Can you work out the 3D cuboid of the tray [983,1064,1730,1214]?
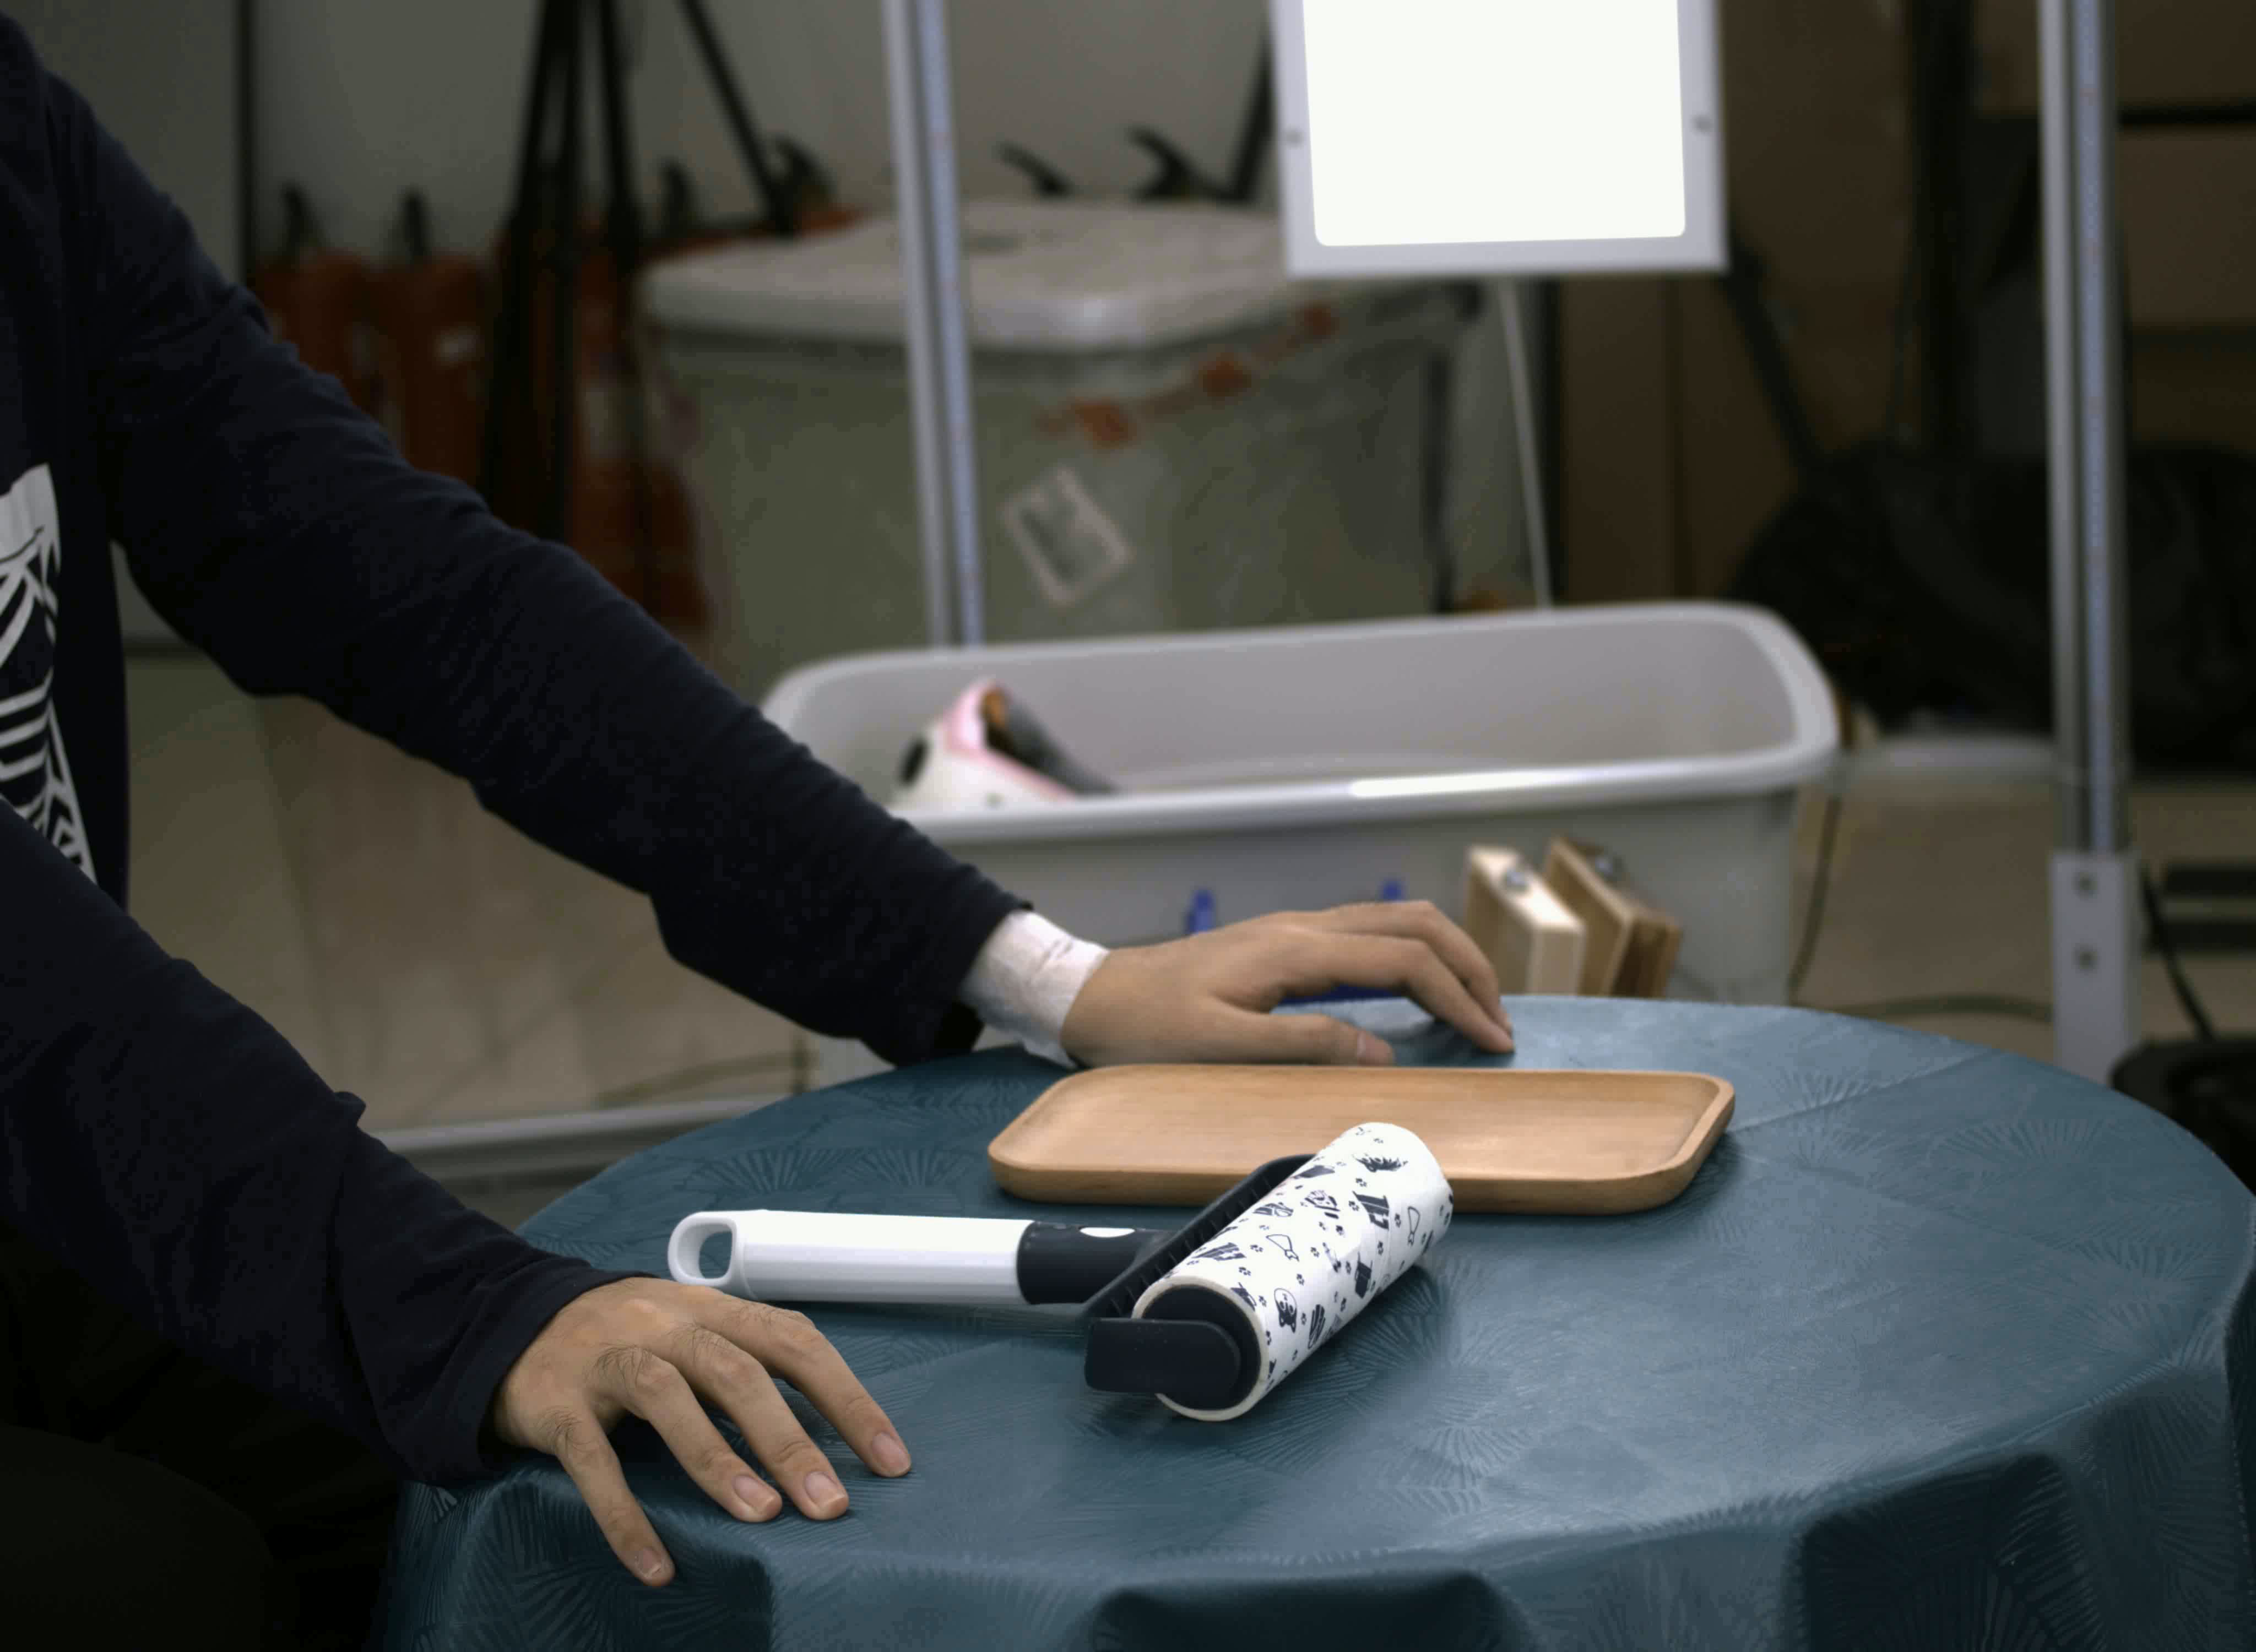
[{"bbox_3d":[0.080,0.109,1.916,0.254,0.023,0.128,-1,11,22],"label":"tray"}]

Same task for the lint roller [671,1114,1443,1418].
[{"bbox_3d":[-0.039,0.141,1.778,0.251,0.050,0.173,-2,14,26],"label":"lint roller"}]
